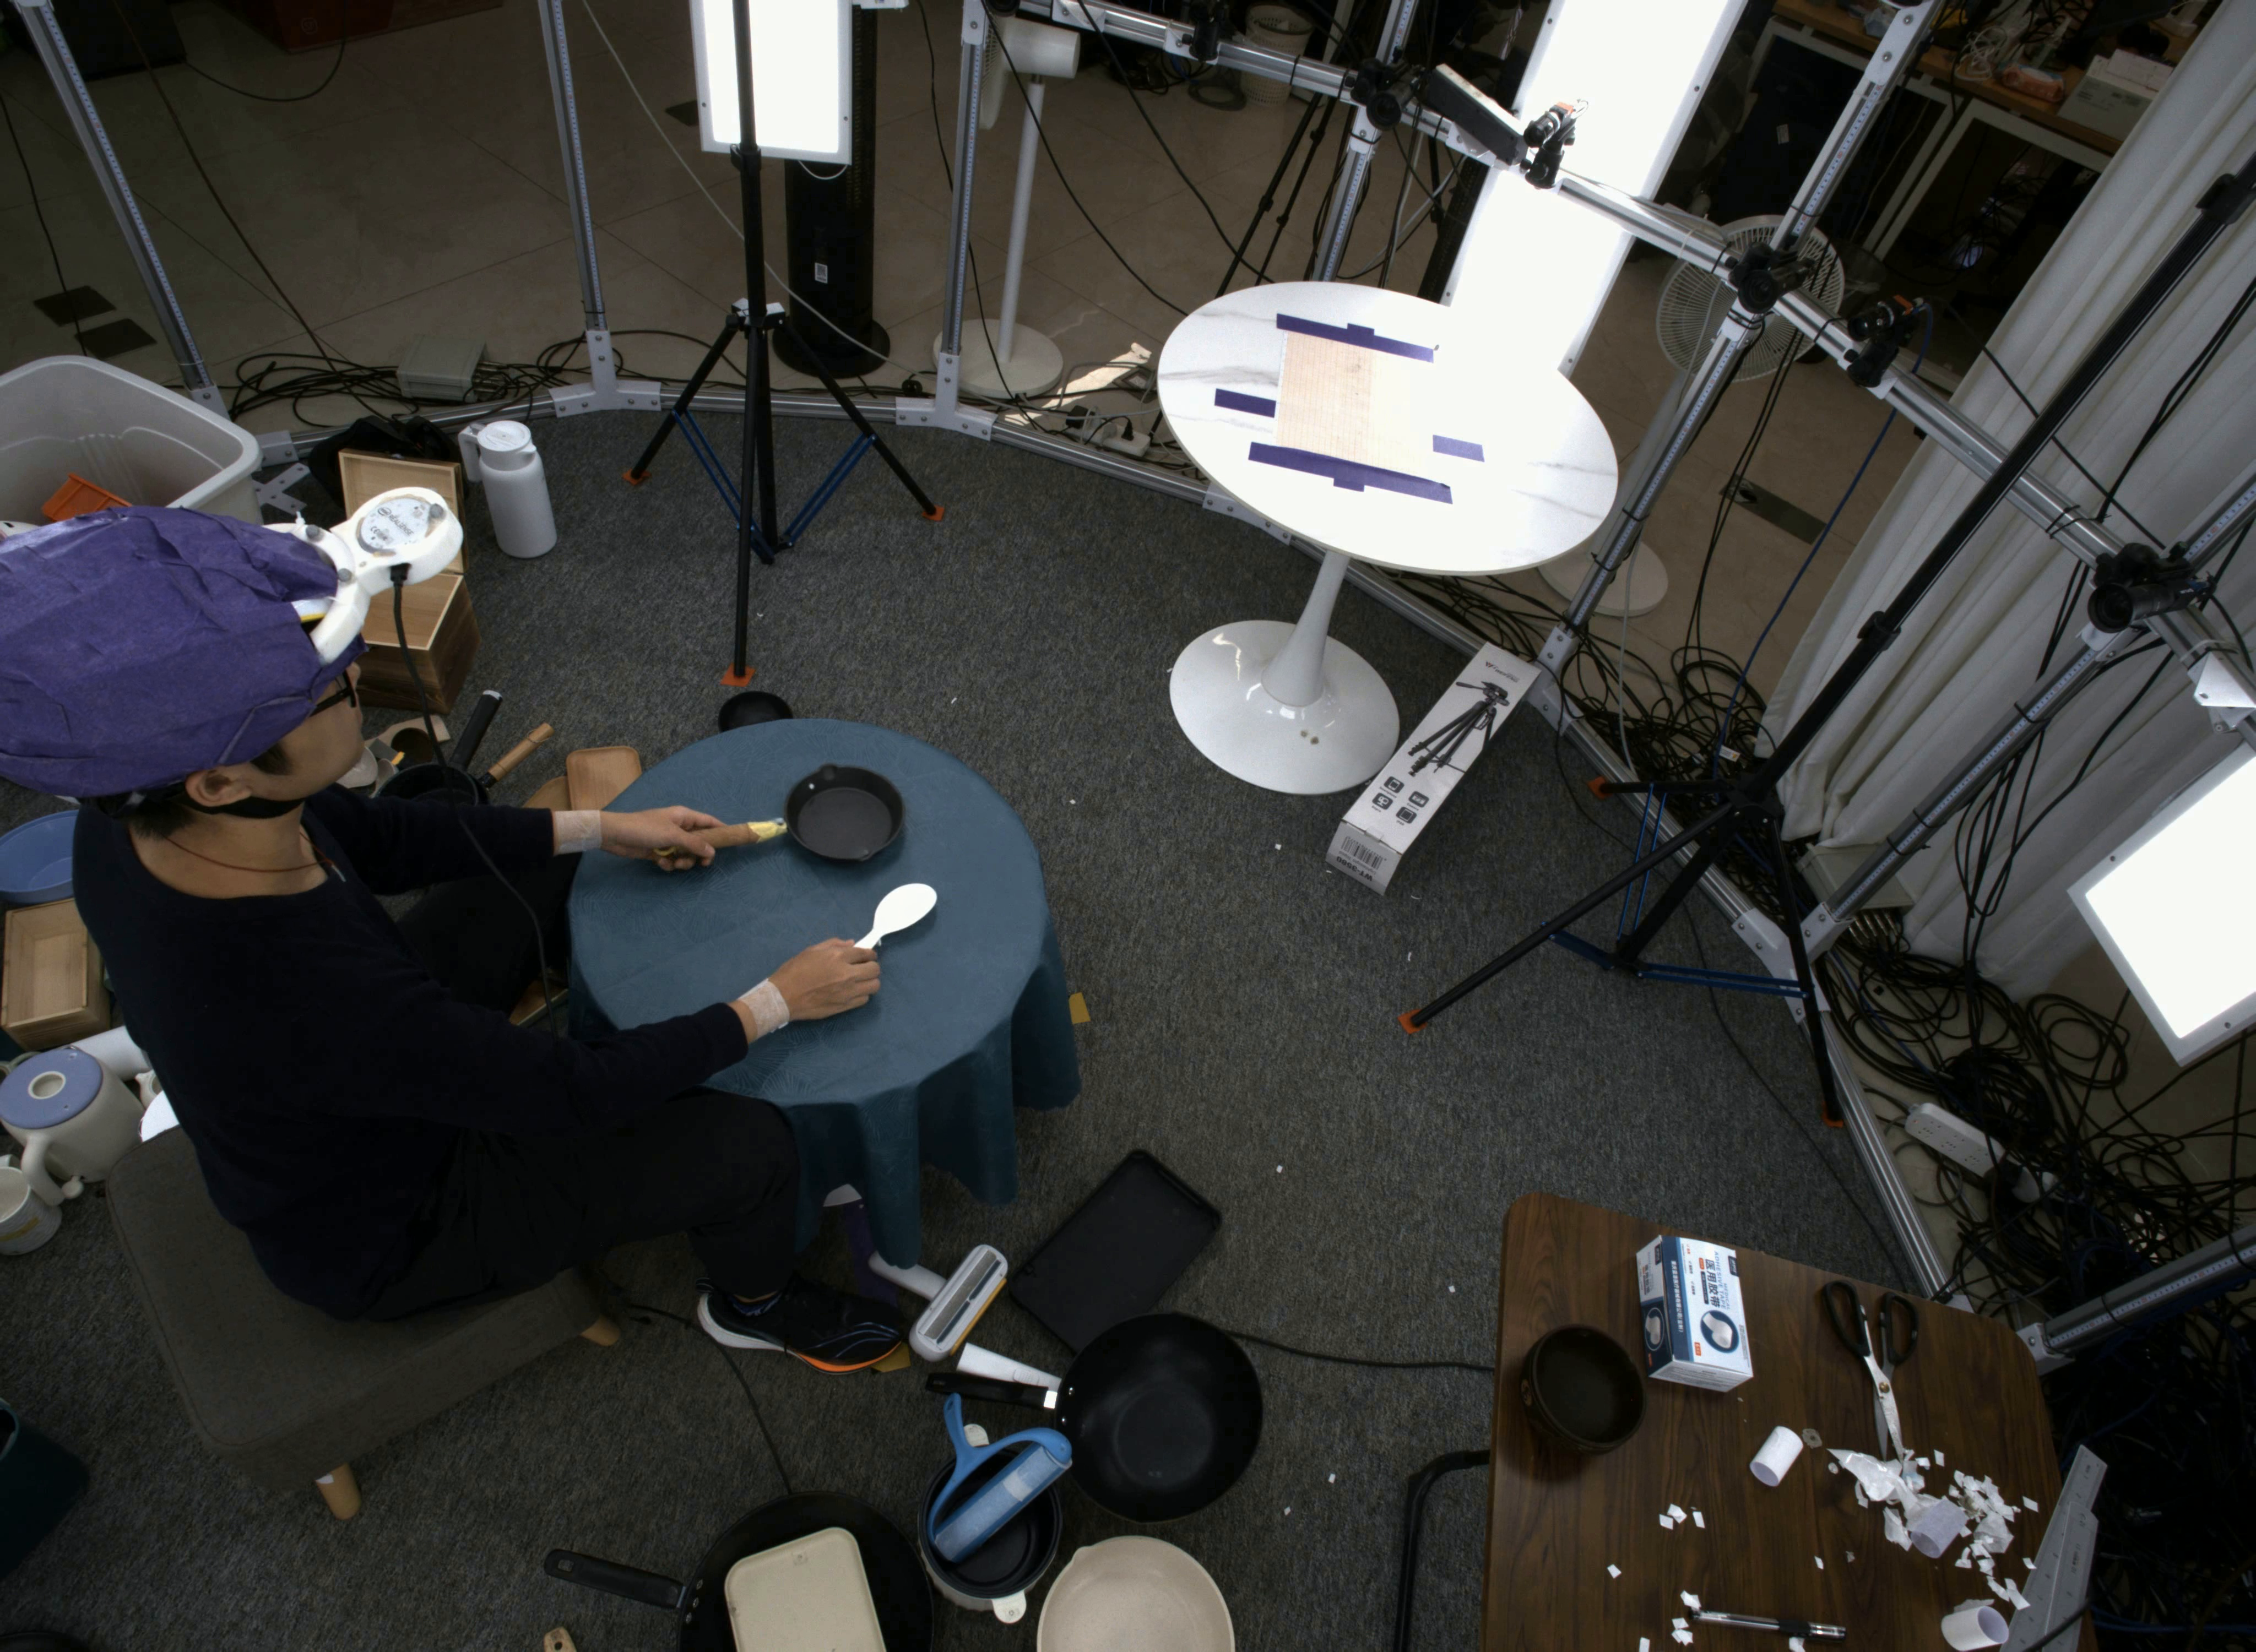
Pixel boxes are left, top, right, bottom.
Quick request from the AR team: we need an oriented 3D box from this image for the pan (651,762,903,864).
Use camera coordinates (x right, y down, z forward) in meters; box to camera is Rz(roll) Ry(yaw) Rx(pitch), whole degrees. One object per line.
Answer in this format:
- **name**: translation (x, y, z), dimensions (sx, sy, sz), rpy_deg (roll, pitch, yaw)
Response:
- **pan**: translation (-0.451, -0.001, 1.674), dimensions (0.326, 0.050, 0.165), rpy_deg (-11, 57, -25)

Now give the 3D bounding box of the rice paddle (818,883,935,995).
- **rice paddle**: translation (-0.312, 0.130, 1.618), dimensions (0.067, 0.030, 0.204), rpy_deg (21, 44, 19)
